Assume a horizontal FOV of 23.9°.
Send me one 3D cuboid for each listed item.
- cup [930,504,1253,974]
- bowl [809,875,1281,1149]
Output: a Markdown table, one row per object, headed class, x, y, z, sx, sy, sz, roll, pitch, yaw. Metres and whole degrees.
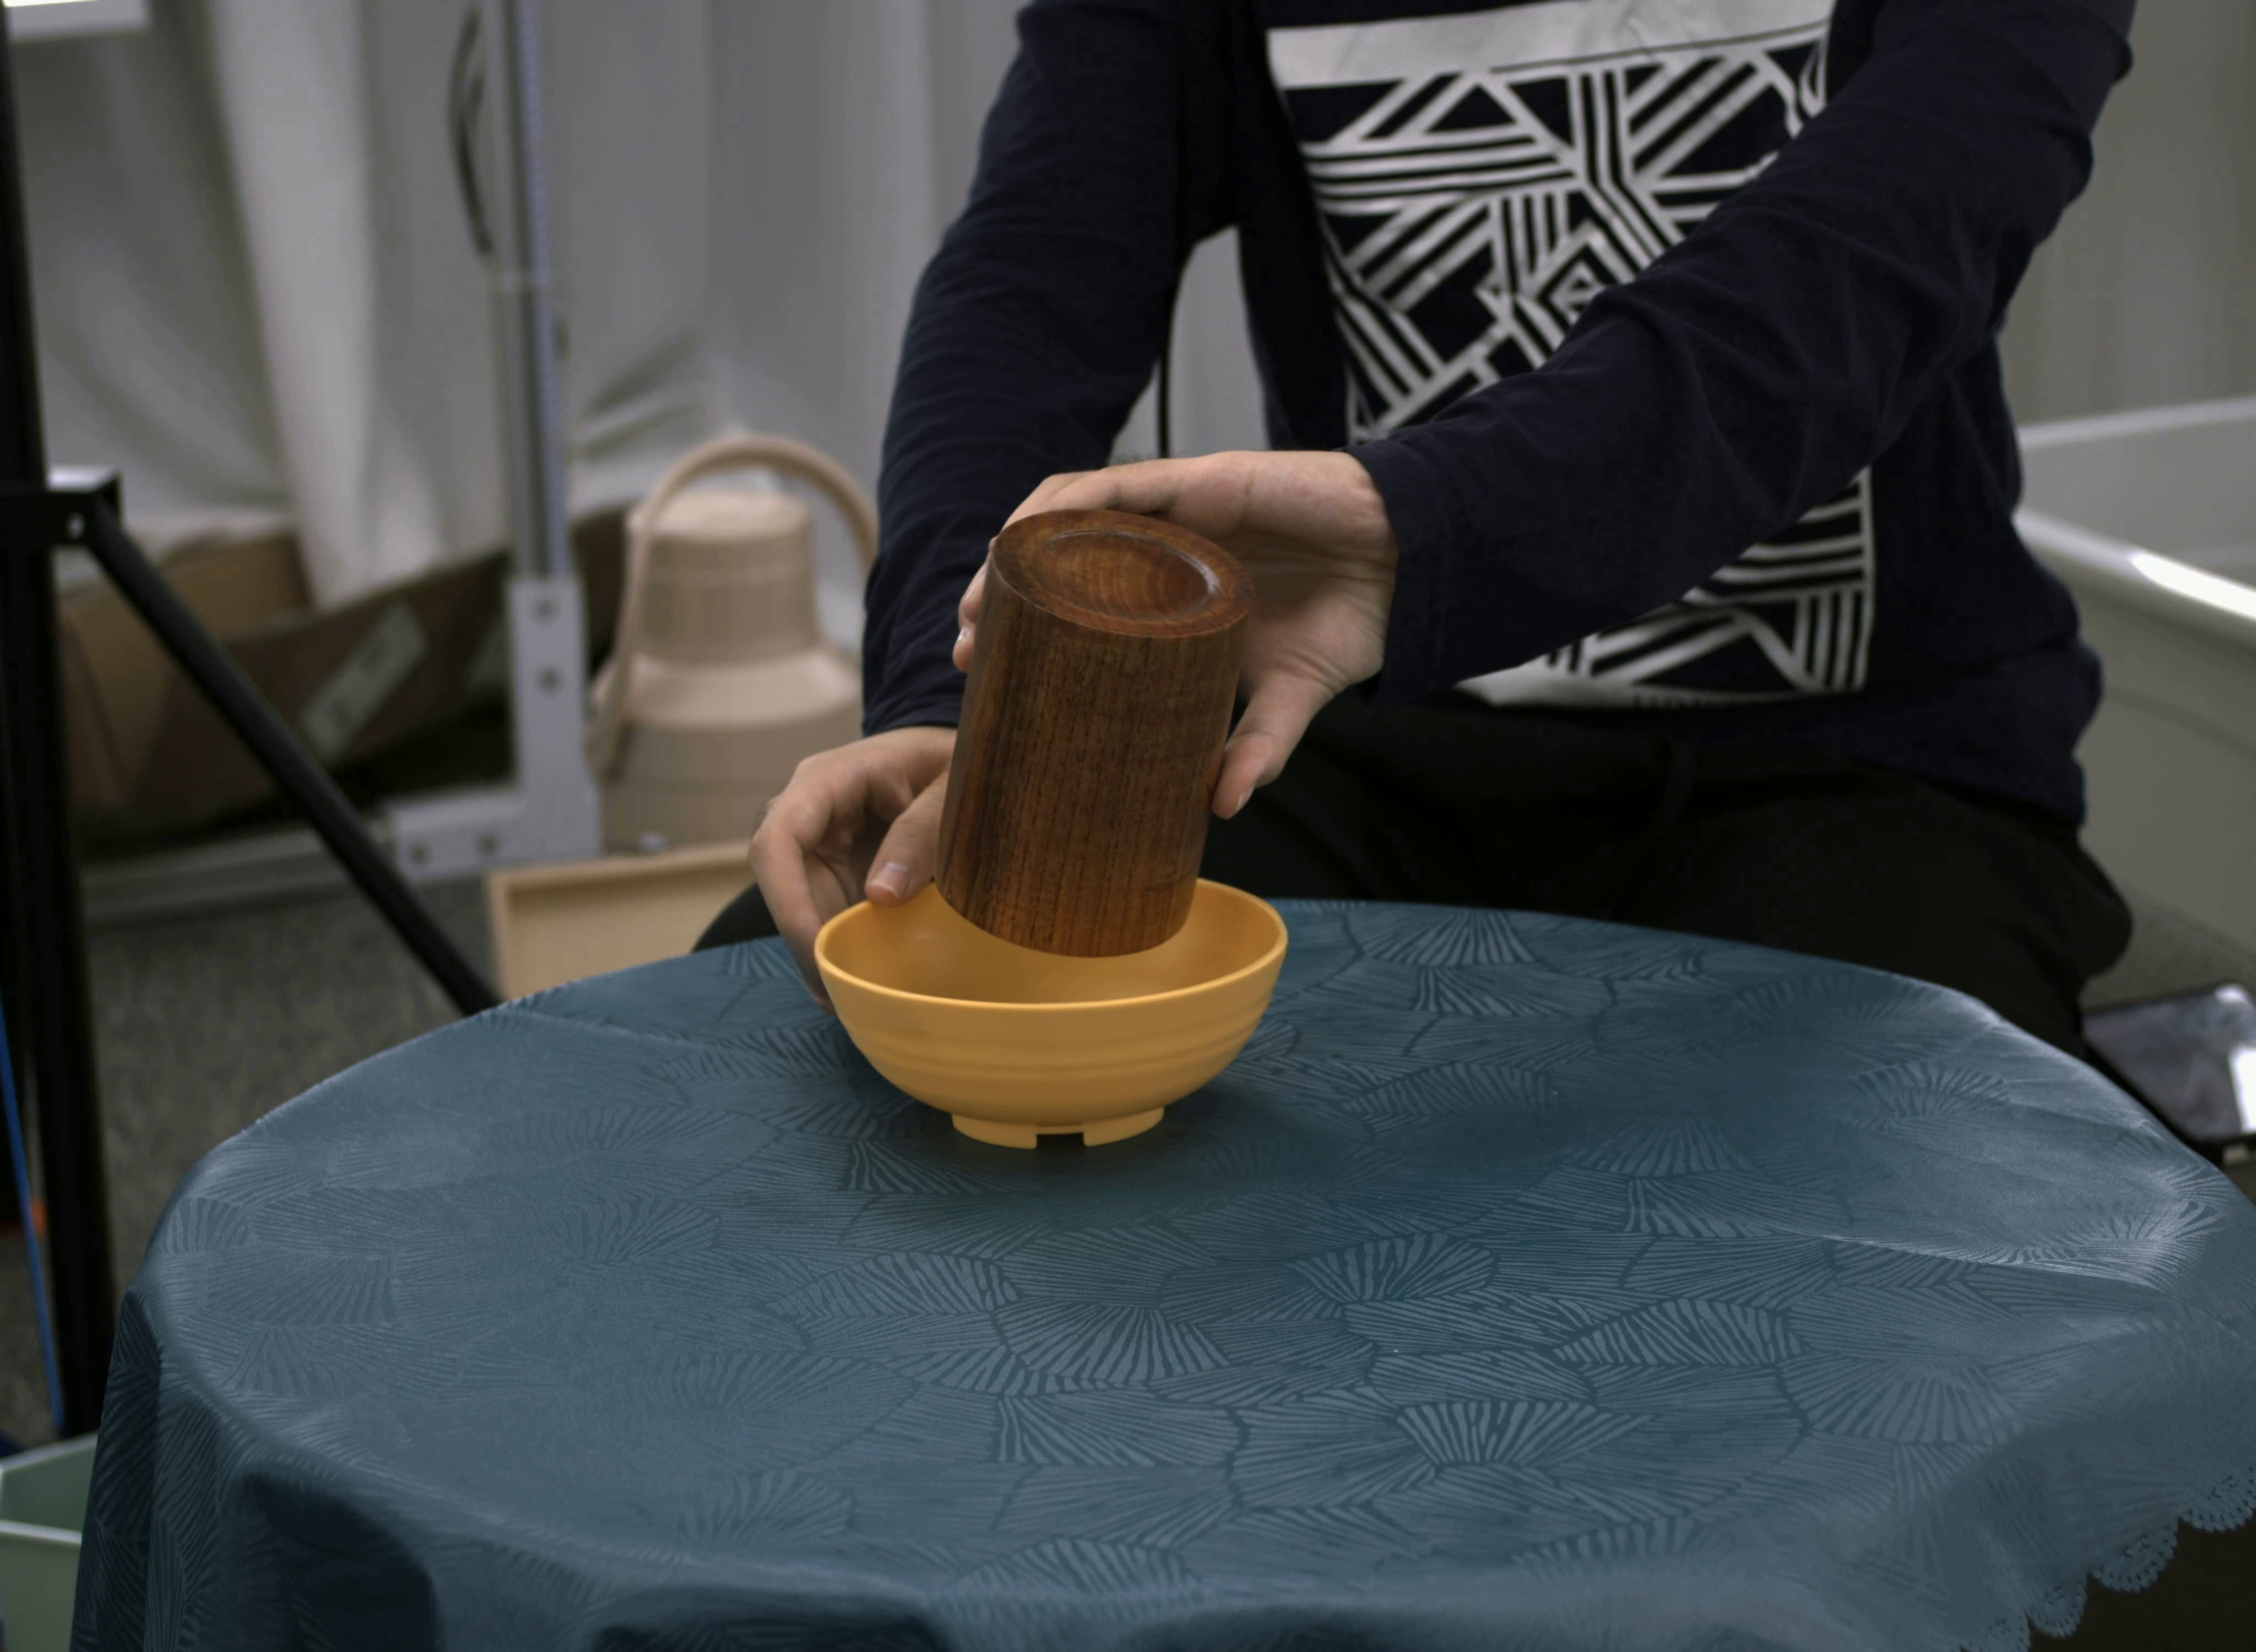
| class | x | y | z | sx | sy | sz | roll | pitch | yaw |
| --- | --- | --- | --- | --- | --- | --- | --- | --- | --- |
| cup | -0.011 | -0.025 | 1.591 | 0.087 | 0.118 | 0.088 | 7 | 31 | -6 |
| bowl | -0.025 | 0.060 | 1.625 | 0.144 | 0.060 | 0.146 | -1 | 15 | -1 |
